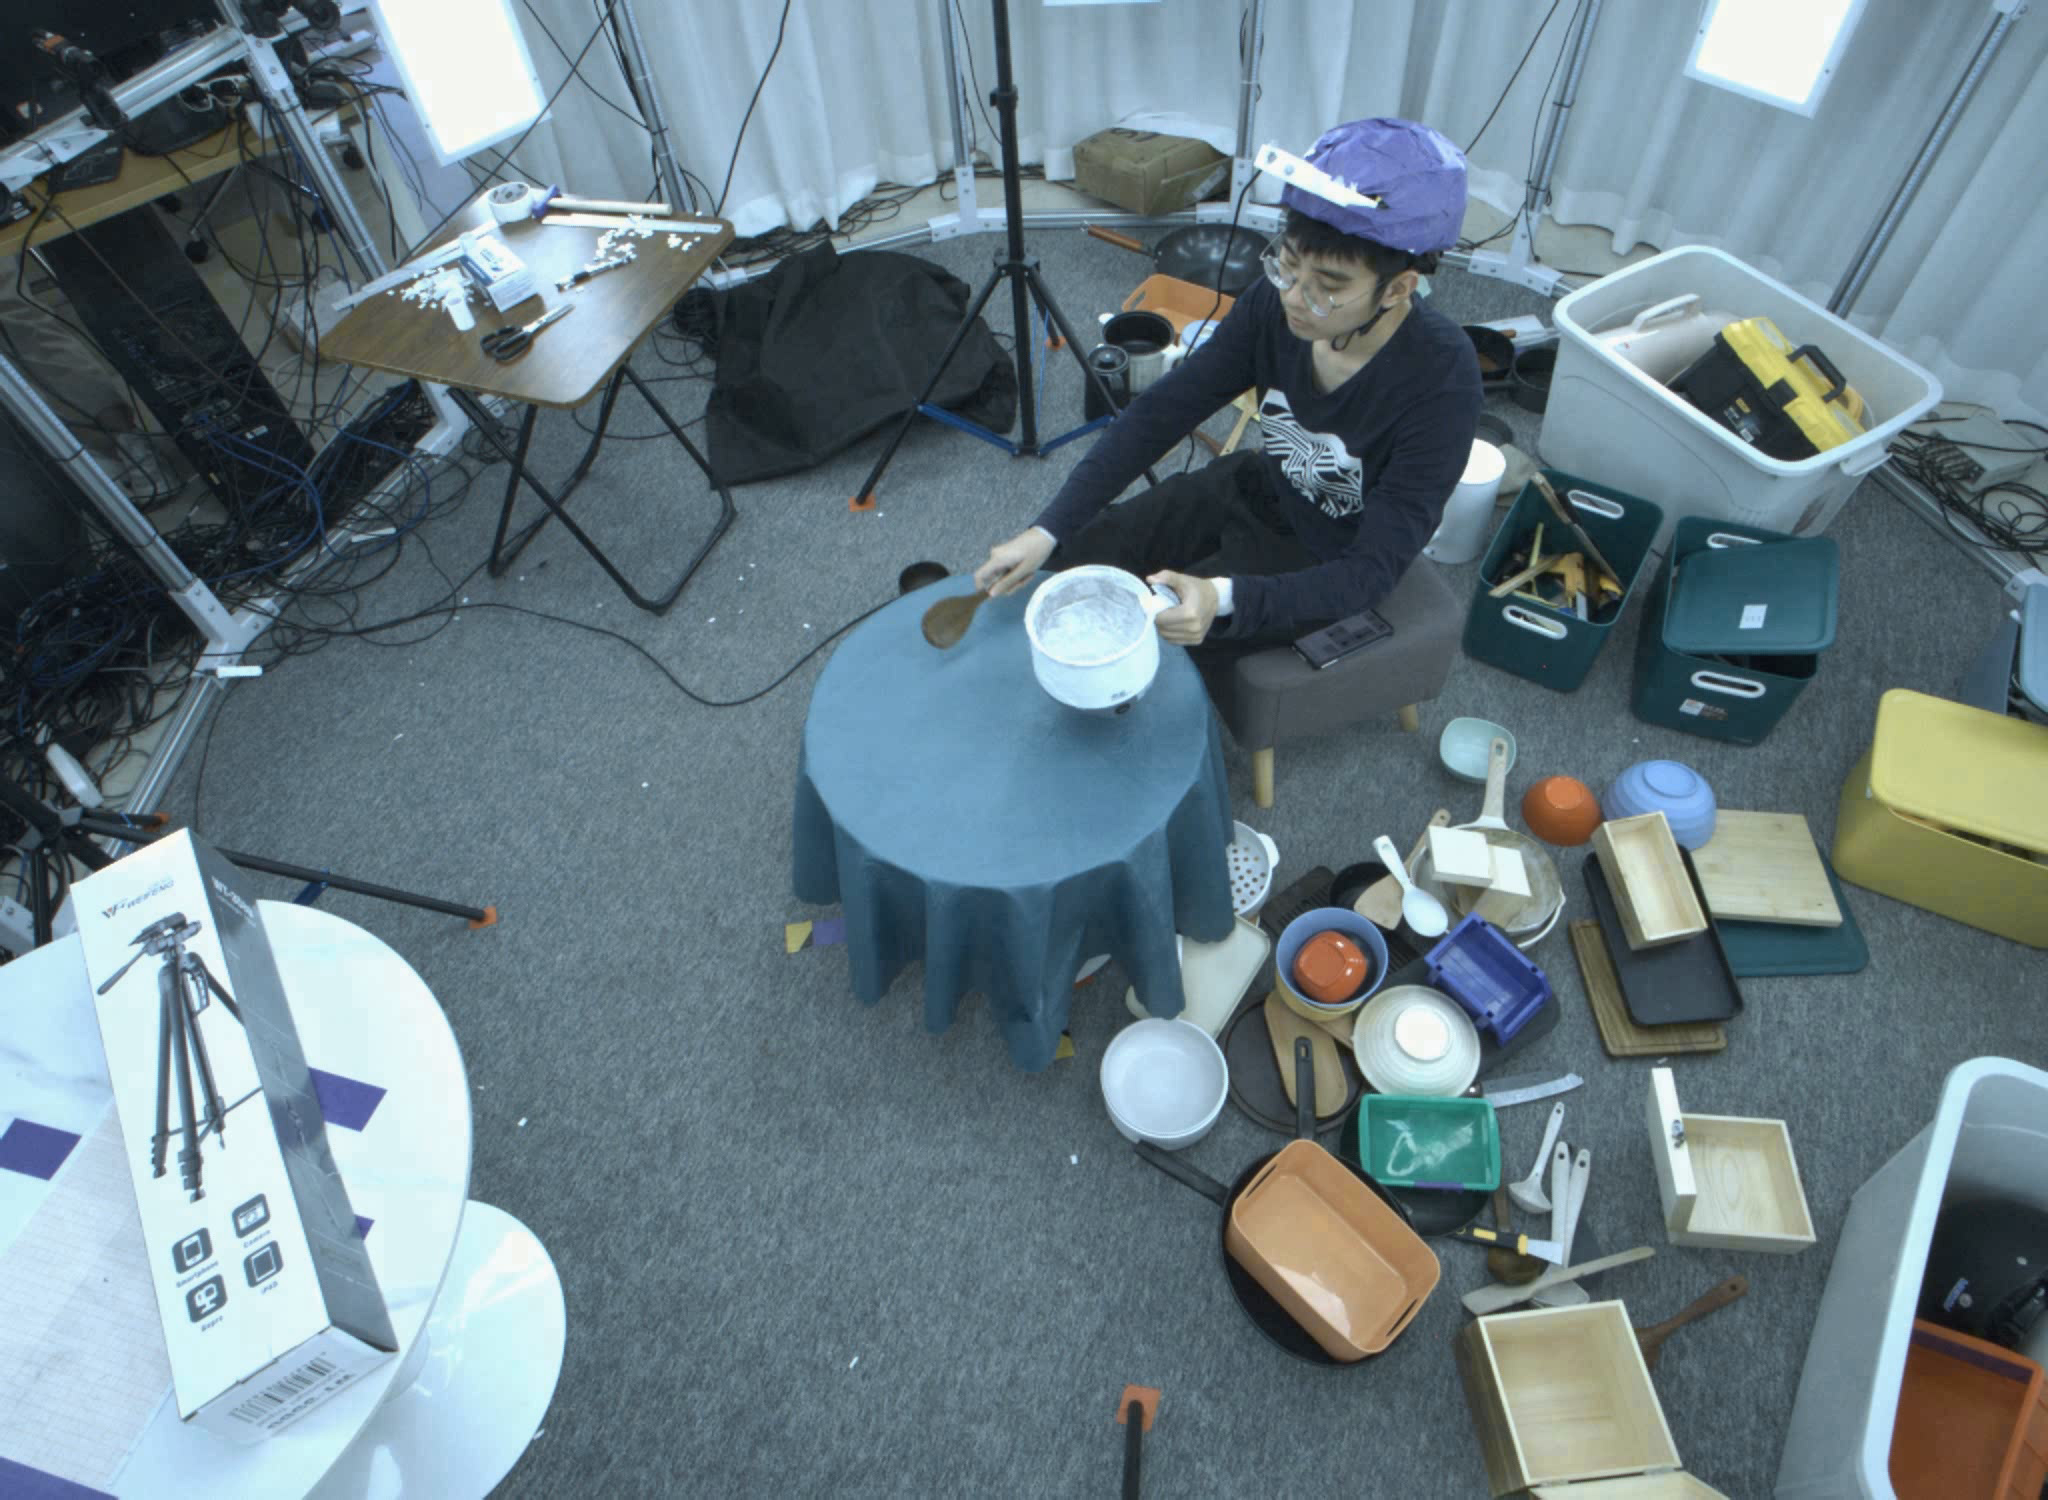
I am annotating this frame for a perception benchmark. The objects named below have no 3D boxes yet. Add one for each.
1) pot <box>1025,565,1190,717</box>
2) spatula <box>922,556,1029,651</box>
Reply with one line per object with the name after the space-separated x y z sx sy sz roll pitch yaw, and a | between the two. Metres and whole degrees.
0.122 -0.161 1.724 0.235 0.138 0.175 -25 60 -8 | pot
-0.070 -0.232 1.898 0.217 0.073 0.009 -41 32 -19 | spatula
